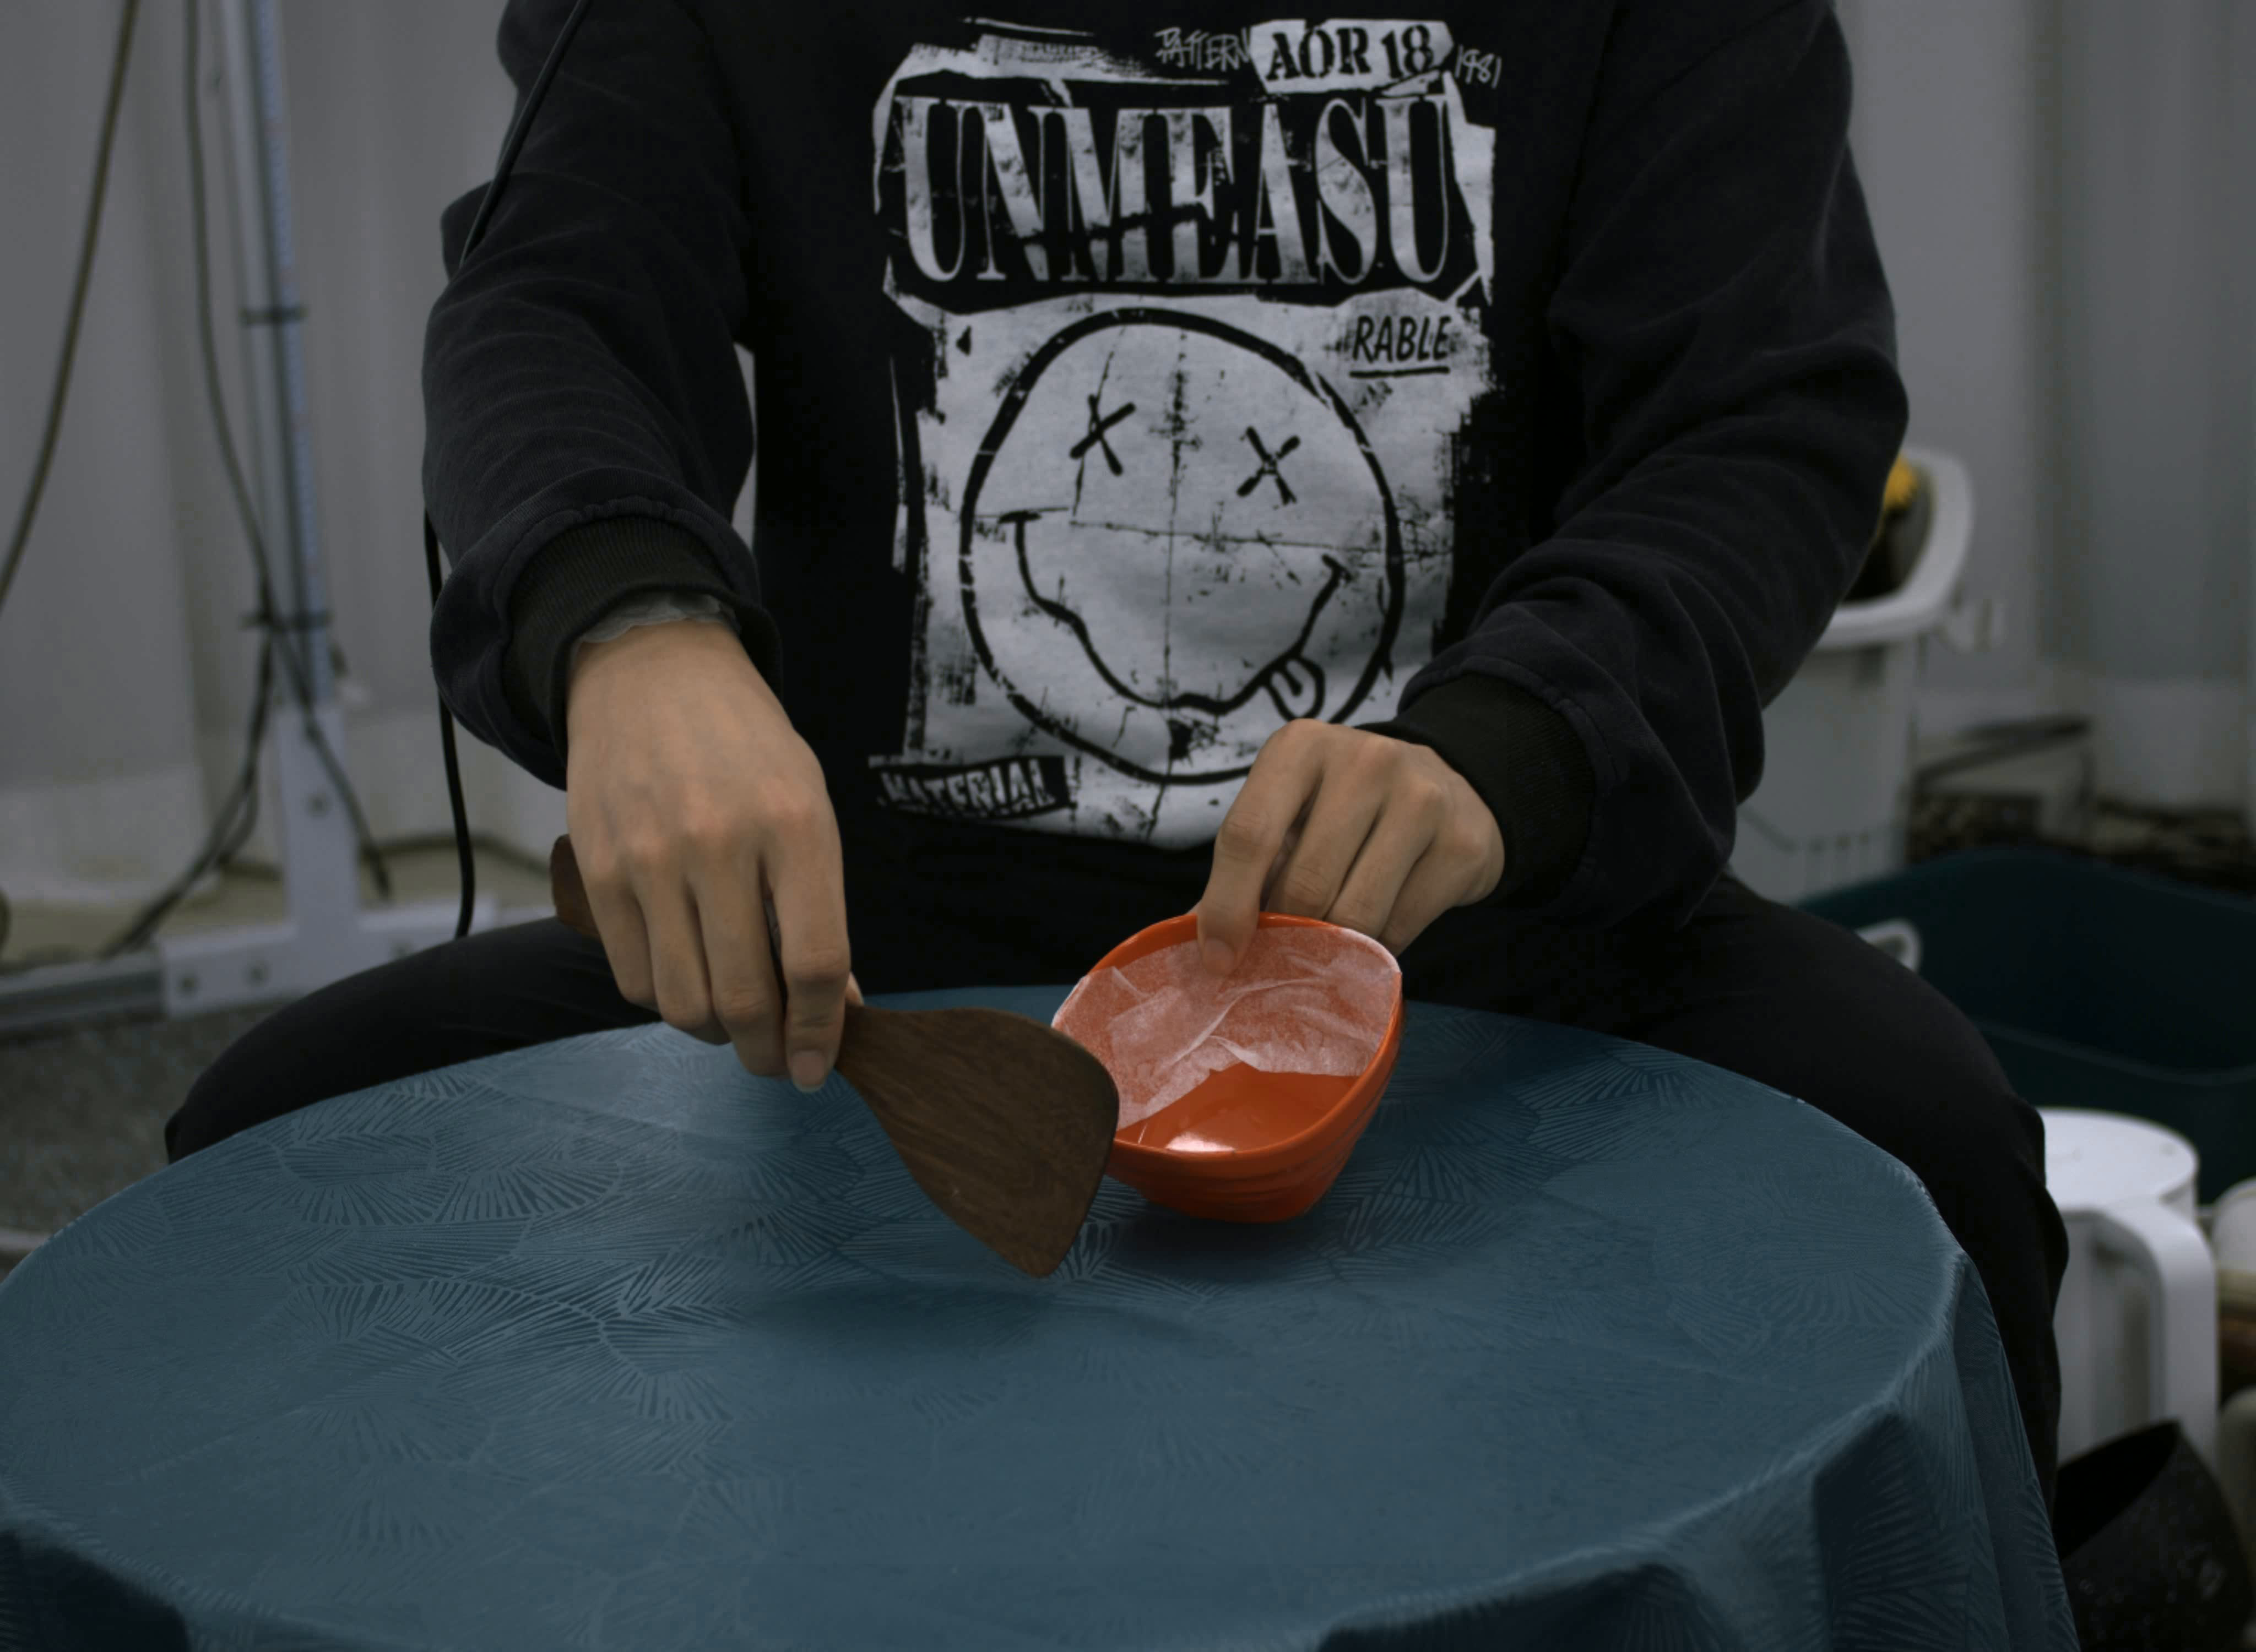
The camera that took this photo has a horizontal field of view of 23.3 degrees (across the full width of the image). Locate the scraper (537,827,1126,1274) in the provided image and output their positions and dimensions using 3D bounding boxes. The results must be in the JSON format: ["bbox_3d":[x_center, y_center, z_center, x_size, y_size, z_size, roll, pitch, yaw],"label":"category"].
[{"bbox_3d":[-0.093,0.057,1.652,0.212,0.075,0.011,29,19,21],"label":"scraper"}]

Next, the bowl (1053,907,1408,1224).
[{"bbox_3d":[0.033,0.081,1.691,0.118,0.051,0.121,-9,40,7],"label":"bowl"}]
